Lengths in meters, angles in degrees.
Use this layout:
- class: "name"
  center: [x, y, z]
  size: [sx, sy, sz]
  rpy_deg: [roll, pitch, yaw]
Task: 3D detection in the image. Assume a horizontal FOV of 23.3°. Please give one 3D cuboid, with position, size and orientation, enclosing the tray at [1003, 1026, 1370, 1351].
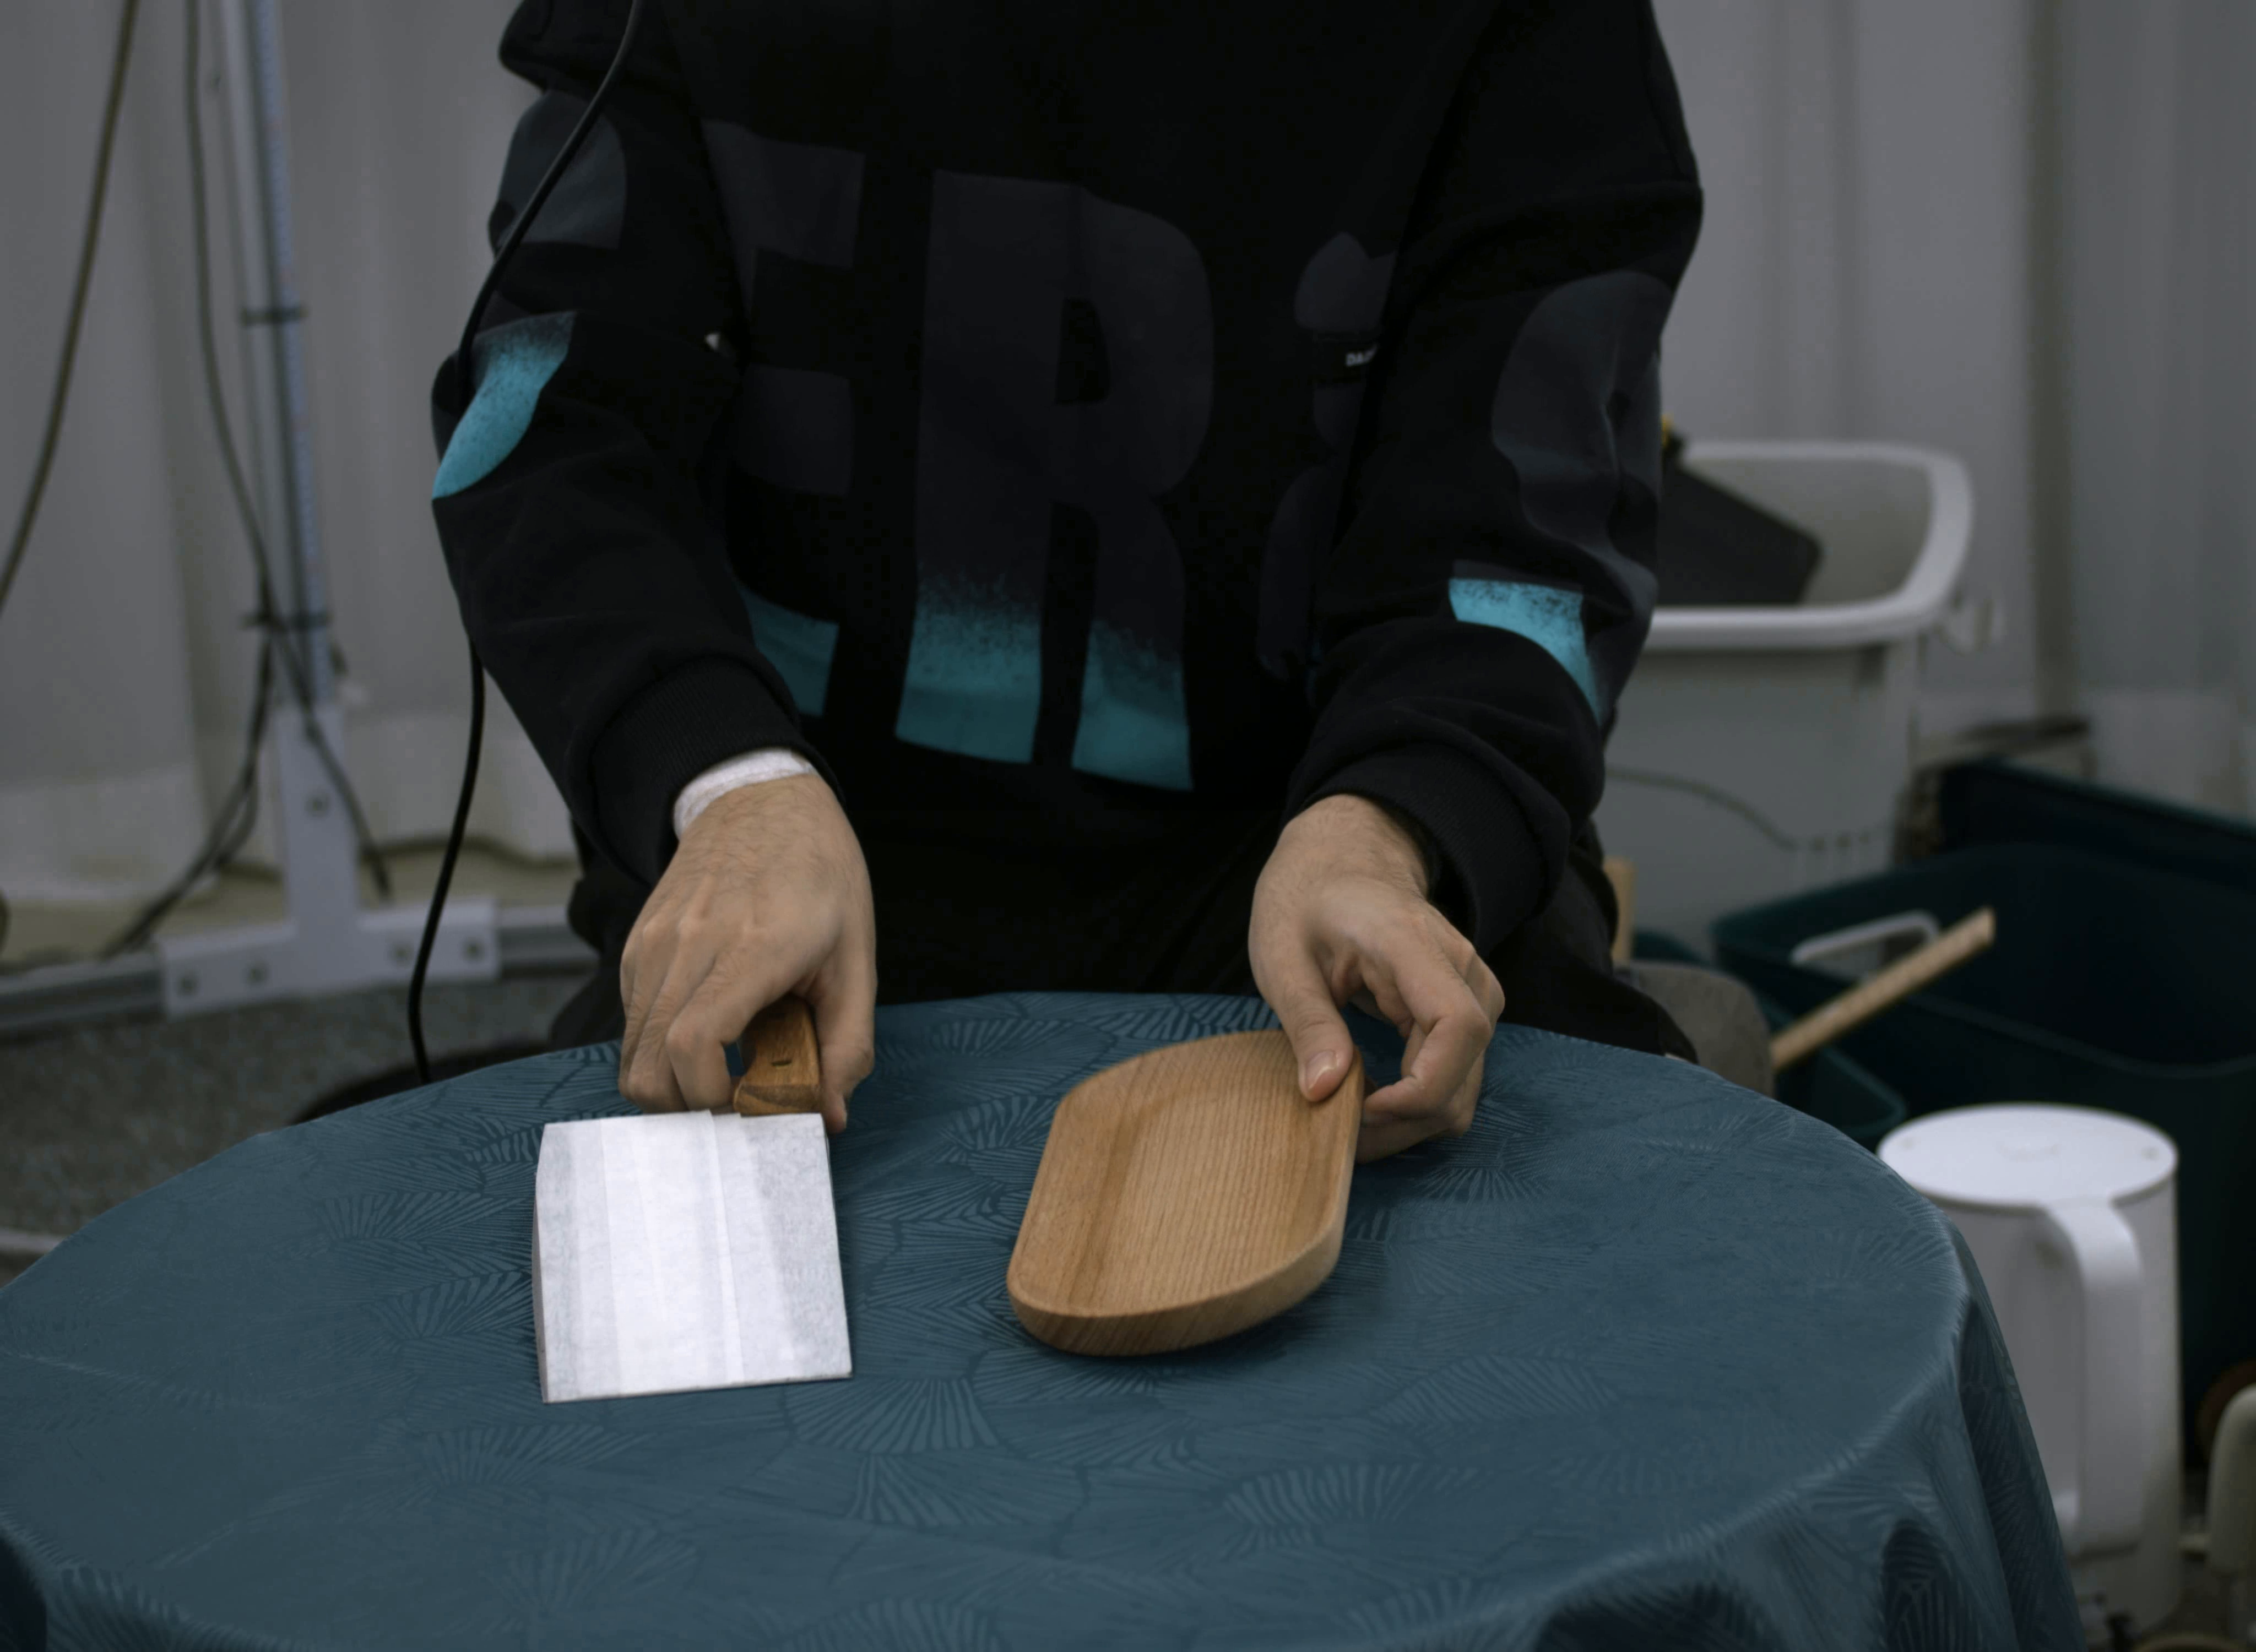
- class: "tray"
  center: [0.021, 0.108, 1.669]
  size: [0.101, 0.020, 0.232]
  rpy_deg: [-11, 15, 10]

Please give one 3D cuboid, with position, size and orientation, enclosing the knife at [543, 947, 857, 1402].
- class: "knife"
  center: [-0.136, 0.106, 1.704]
  size: [0.092, 0.021, 0.309]
  rpy_deg: [-5, 22, -4]
